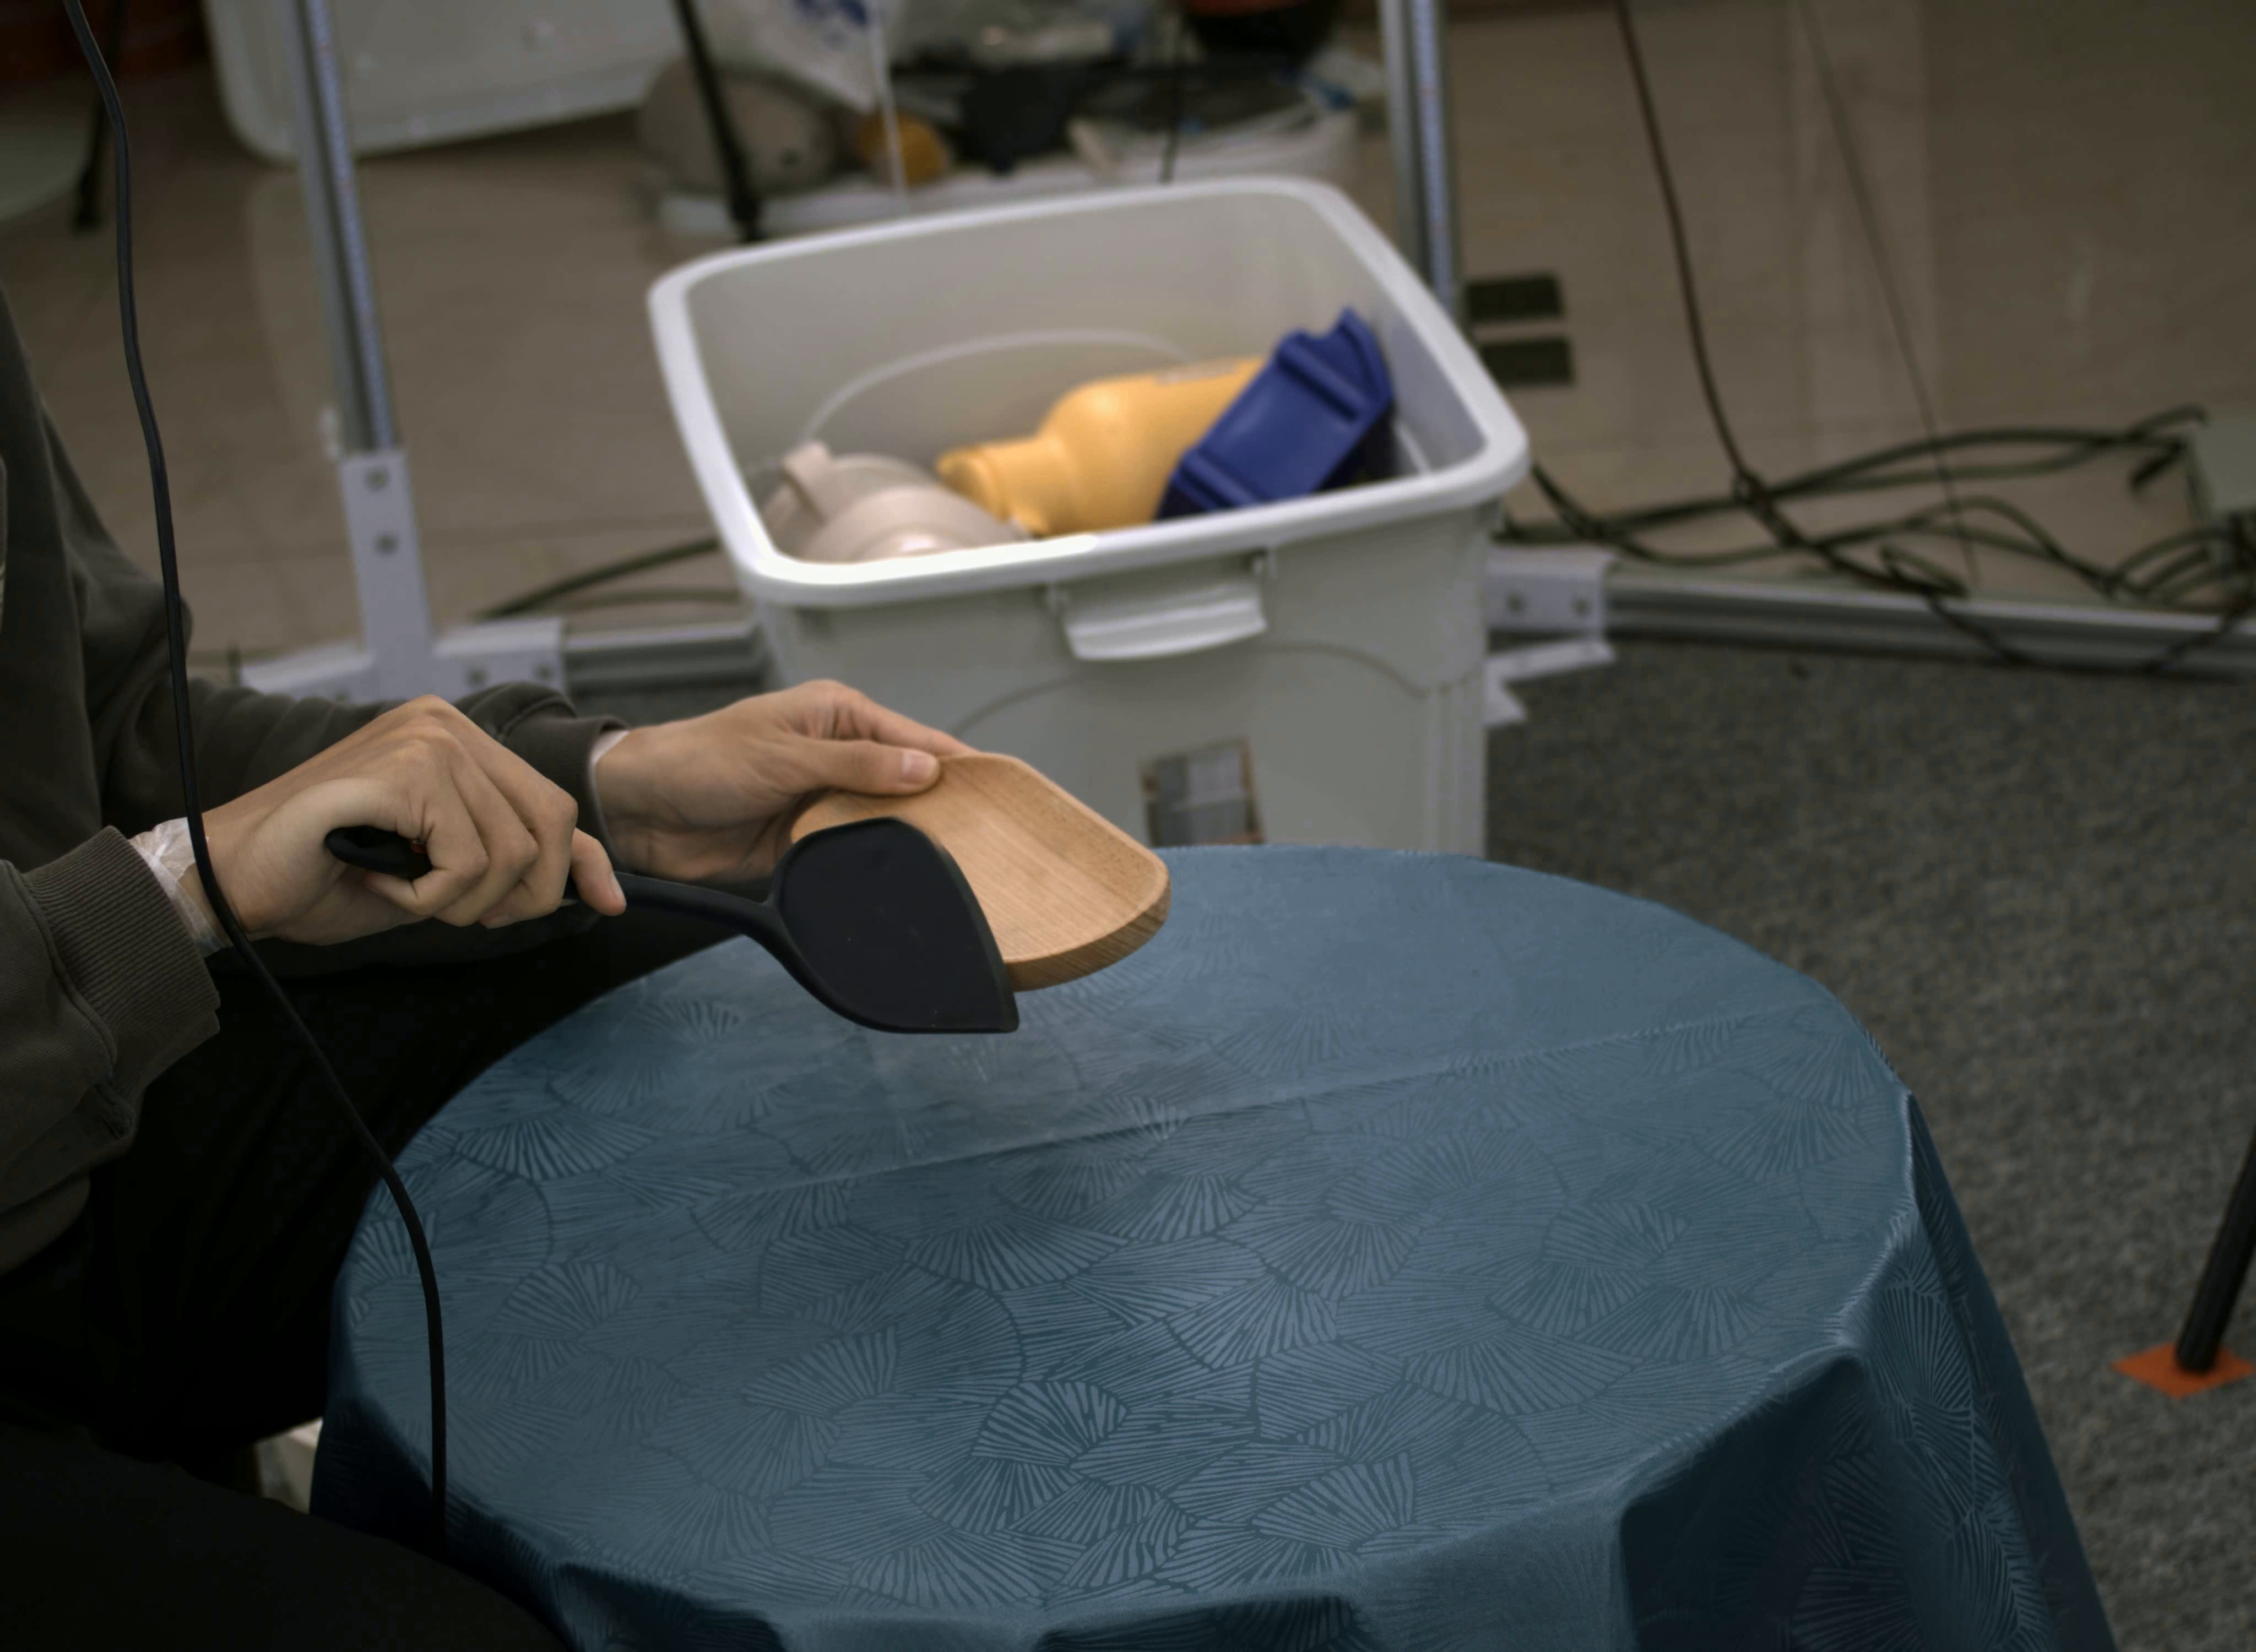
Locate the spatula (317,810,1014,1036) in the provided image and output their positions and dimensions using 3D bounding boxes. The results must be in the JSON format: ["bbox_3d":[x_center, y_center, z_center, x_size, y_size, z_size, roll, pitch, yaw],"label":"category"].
[{"bbox_3d":[-0.160,0.021,1.971,0.327,0.040,0.098,16,43,-54],"label":"spatula"}]

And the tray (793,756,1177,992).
[{"bbox_3d":[-0.056,0.018,2.193,0.101,0.020,0.228,-23,25,-17],"label":"tray"}]
